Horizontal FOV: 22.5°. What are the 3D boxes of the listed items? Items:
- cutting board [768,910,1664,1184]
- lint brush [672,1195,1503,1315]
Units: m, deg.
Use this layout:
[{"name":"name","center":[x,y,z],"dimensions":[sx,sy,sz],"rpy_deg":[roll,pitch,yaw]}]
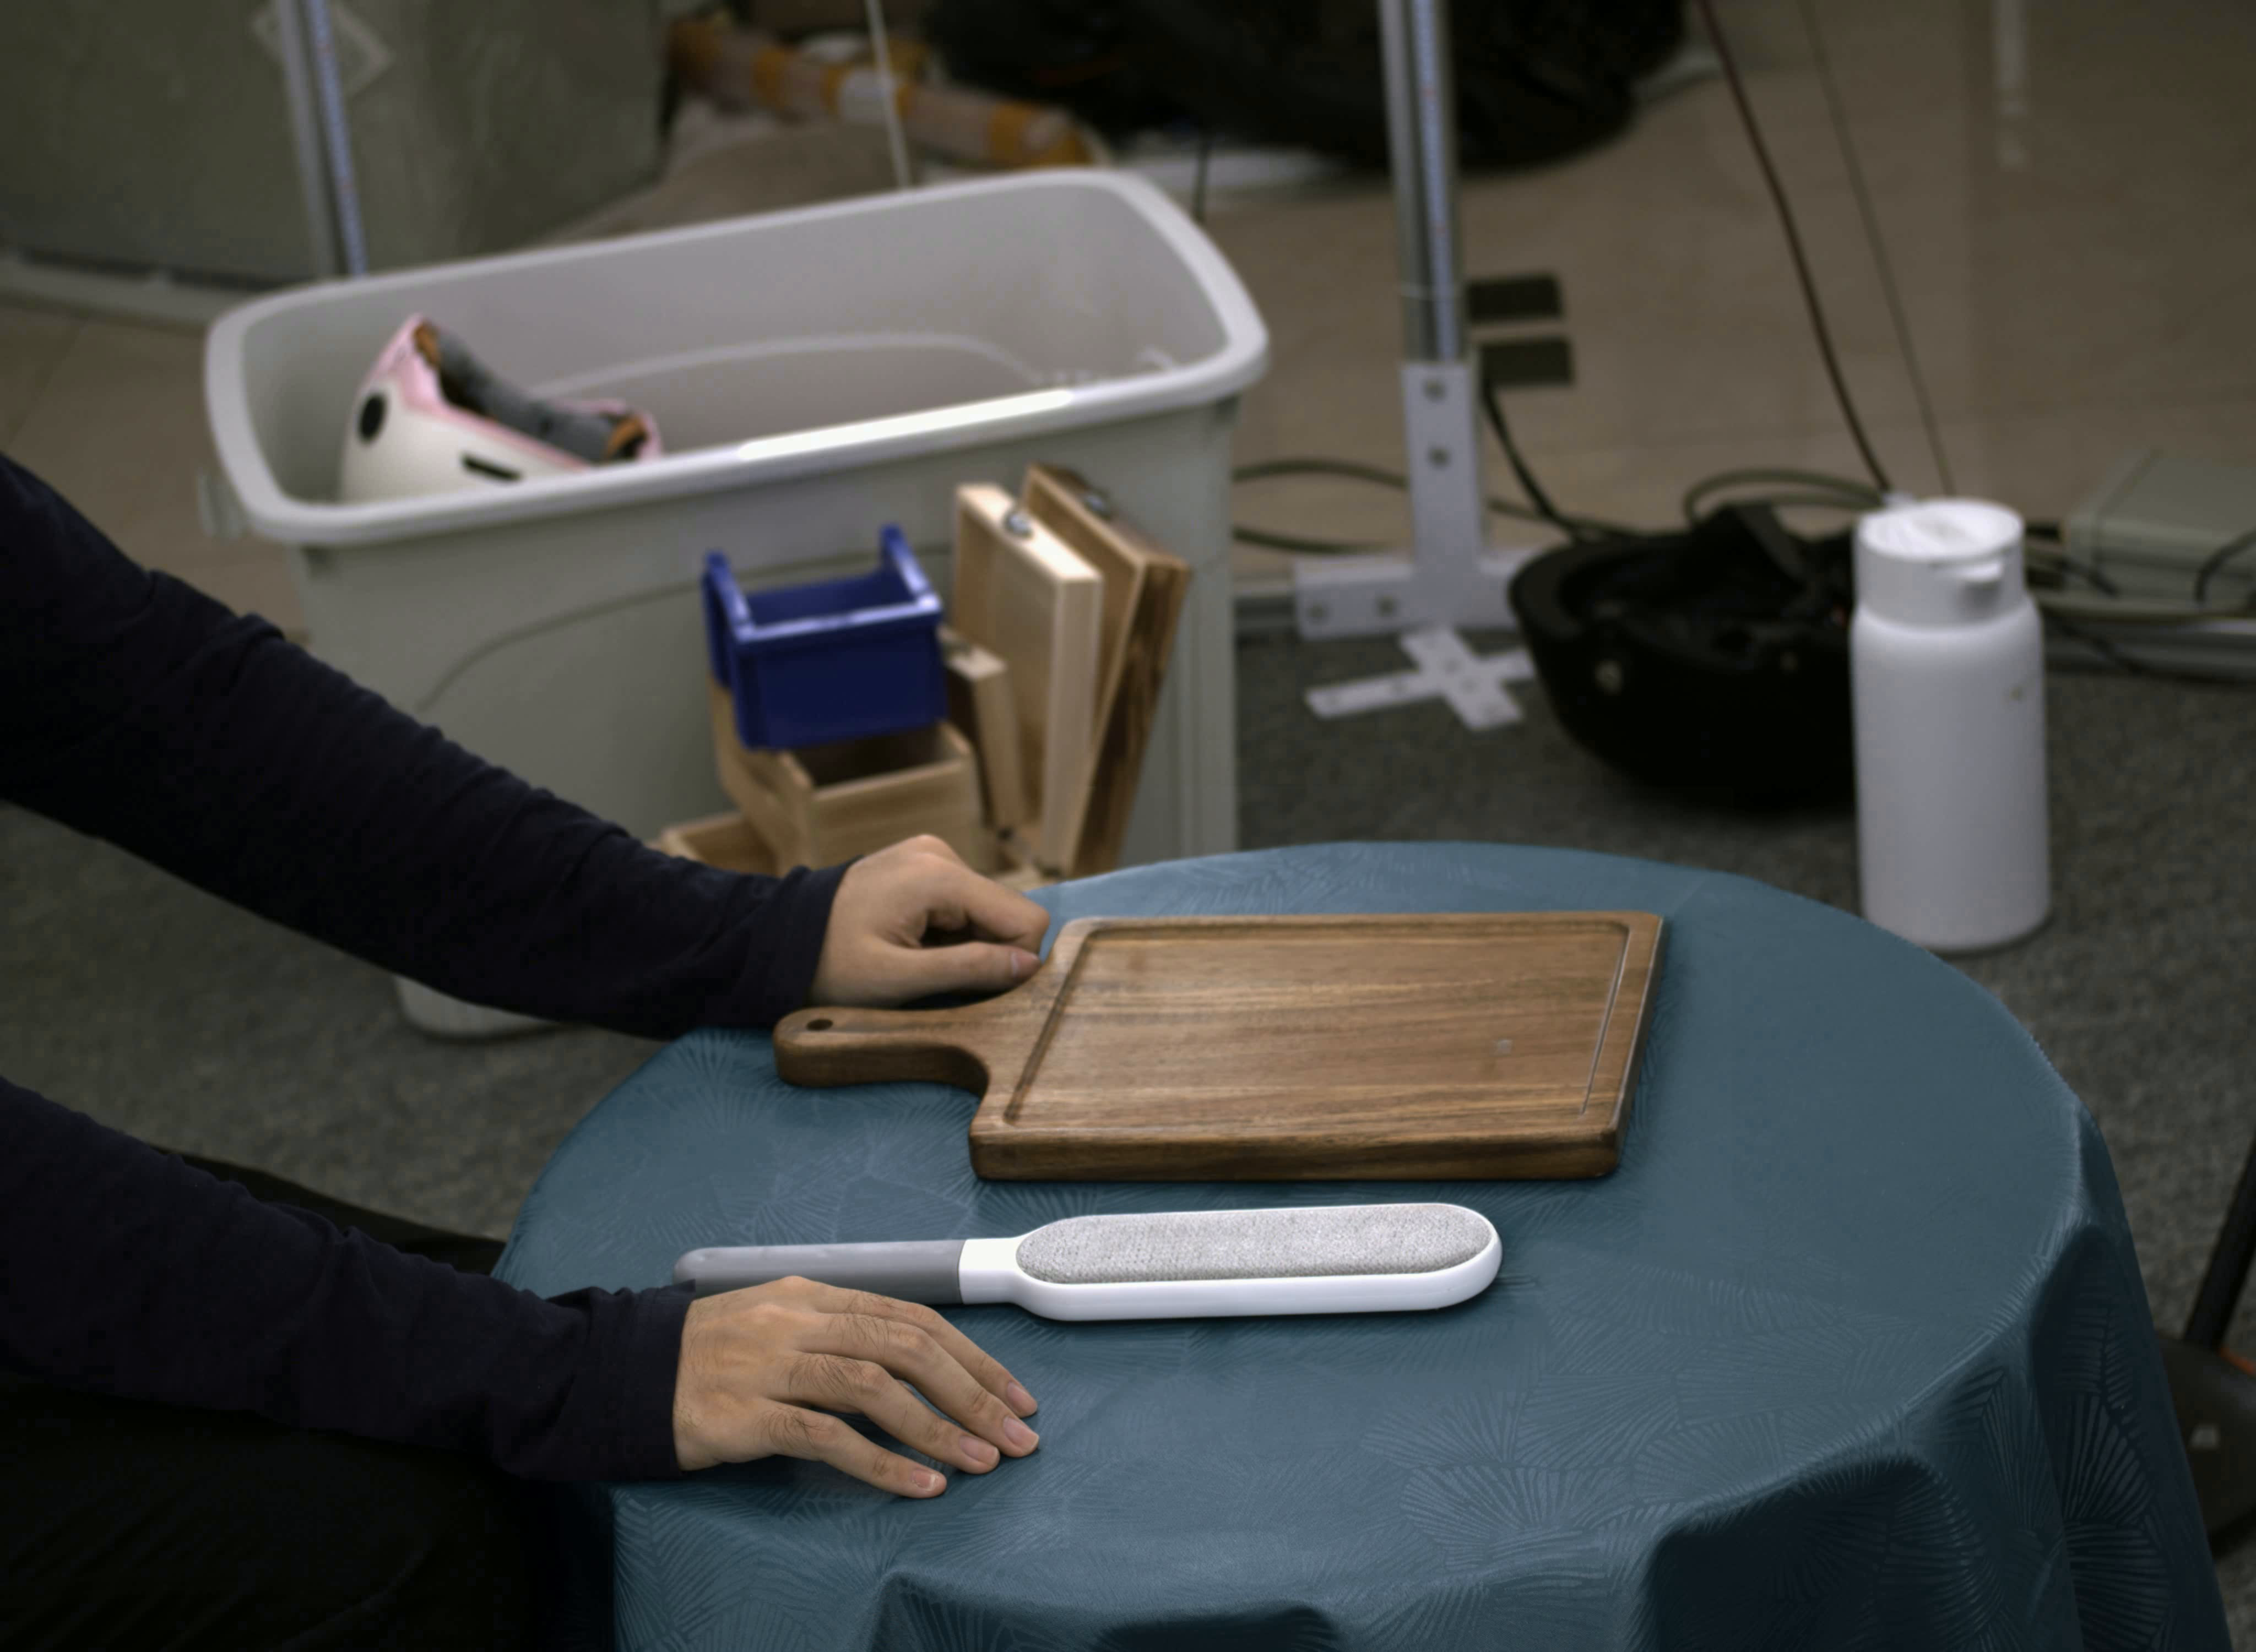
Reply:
[{"name":"cutting board","center":[0.029,0.086,2.236],"dimensions":[0.351,0.023,0.198],"rpy_deg":[-1,25,13]},{"name":"lint brush","center":[-0.017,0.158,2.081],"dimensions":[0.308,0.021,0.059],"rpy_deg":[-2,30,10]}]
